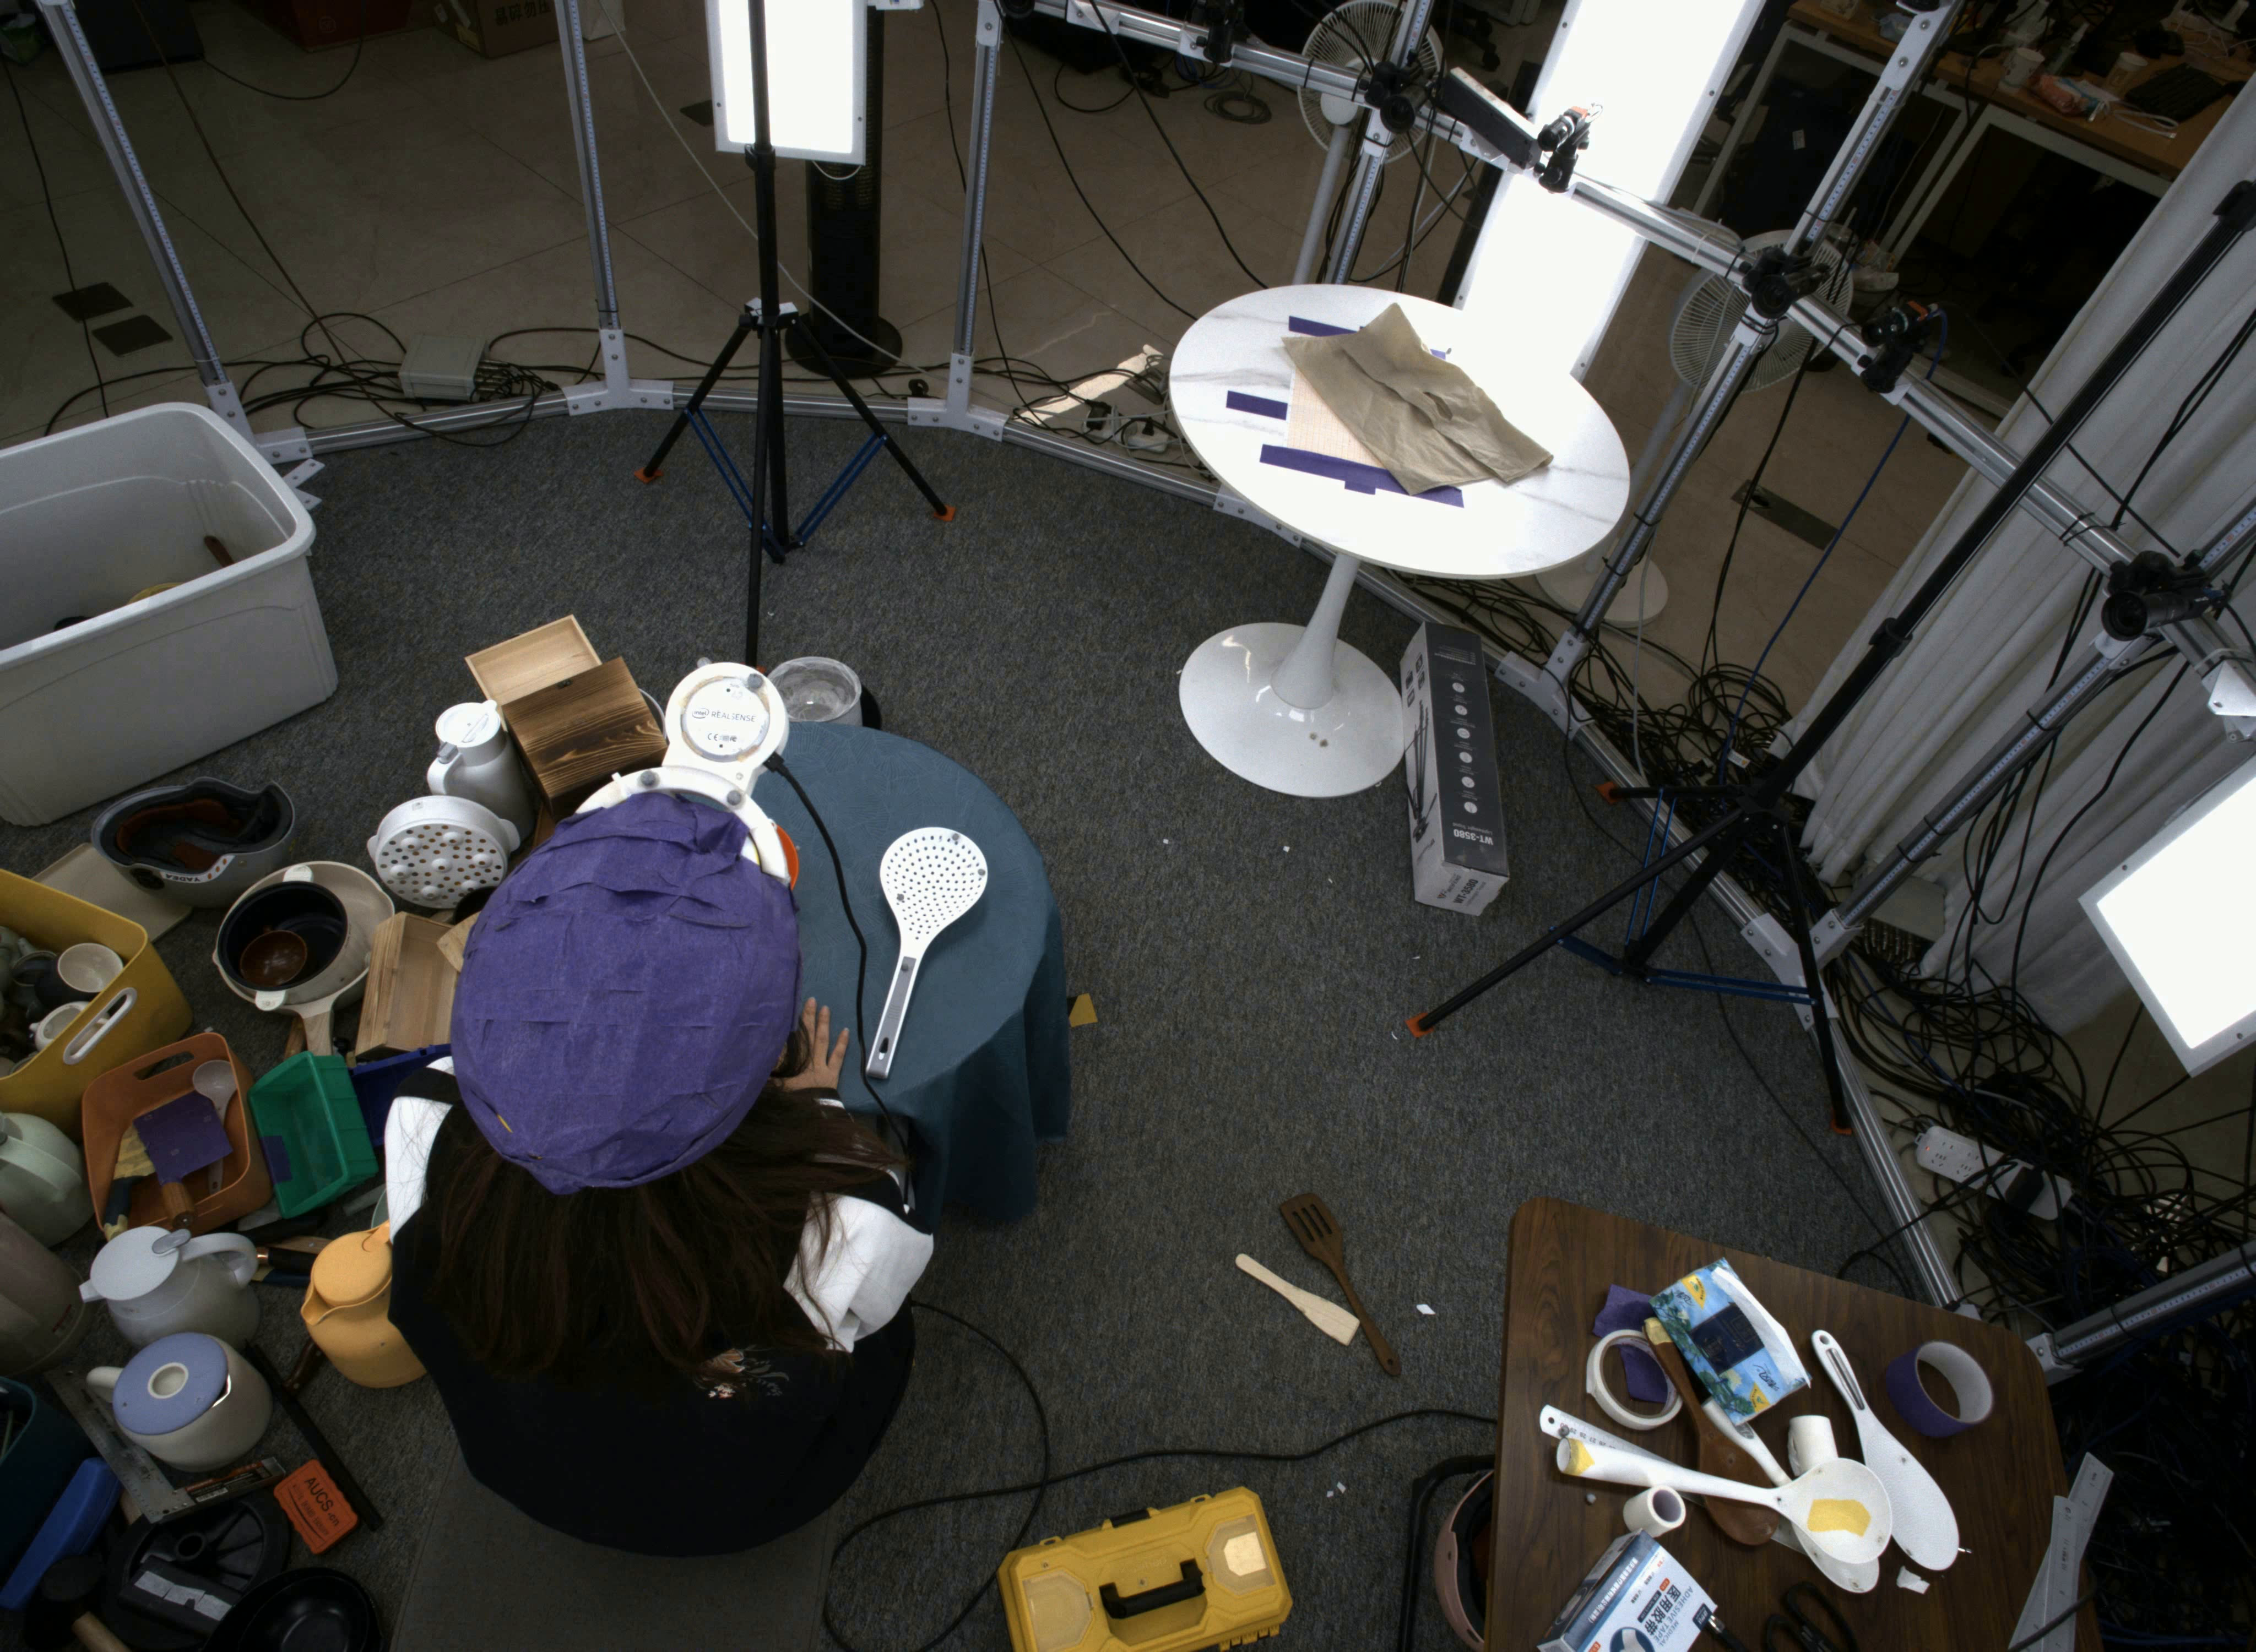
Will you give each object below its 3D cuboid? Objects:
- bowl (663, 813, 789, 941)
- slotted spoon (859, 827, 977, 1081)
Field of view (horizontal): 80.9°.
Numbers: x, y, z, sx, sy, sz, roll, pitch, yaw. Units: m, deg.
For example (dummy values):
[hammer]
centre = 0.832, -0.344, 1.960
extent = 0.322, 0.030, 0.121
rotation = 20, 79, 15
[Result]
[bowl]
centre = -0.490, 0.073, 1.582
extent = 0.148, 0.106, 0.145
rotation = 9, 52, -9
[slotted spoon]
centre = -0.277, 0.150, 1.616
extent = 0.135, 0.046, 0.344
rotation = 12, 52, -4
